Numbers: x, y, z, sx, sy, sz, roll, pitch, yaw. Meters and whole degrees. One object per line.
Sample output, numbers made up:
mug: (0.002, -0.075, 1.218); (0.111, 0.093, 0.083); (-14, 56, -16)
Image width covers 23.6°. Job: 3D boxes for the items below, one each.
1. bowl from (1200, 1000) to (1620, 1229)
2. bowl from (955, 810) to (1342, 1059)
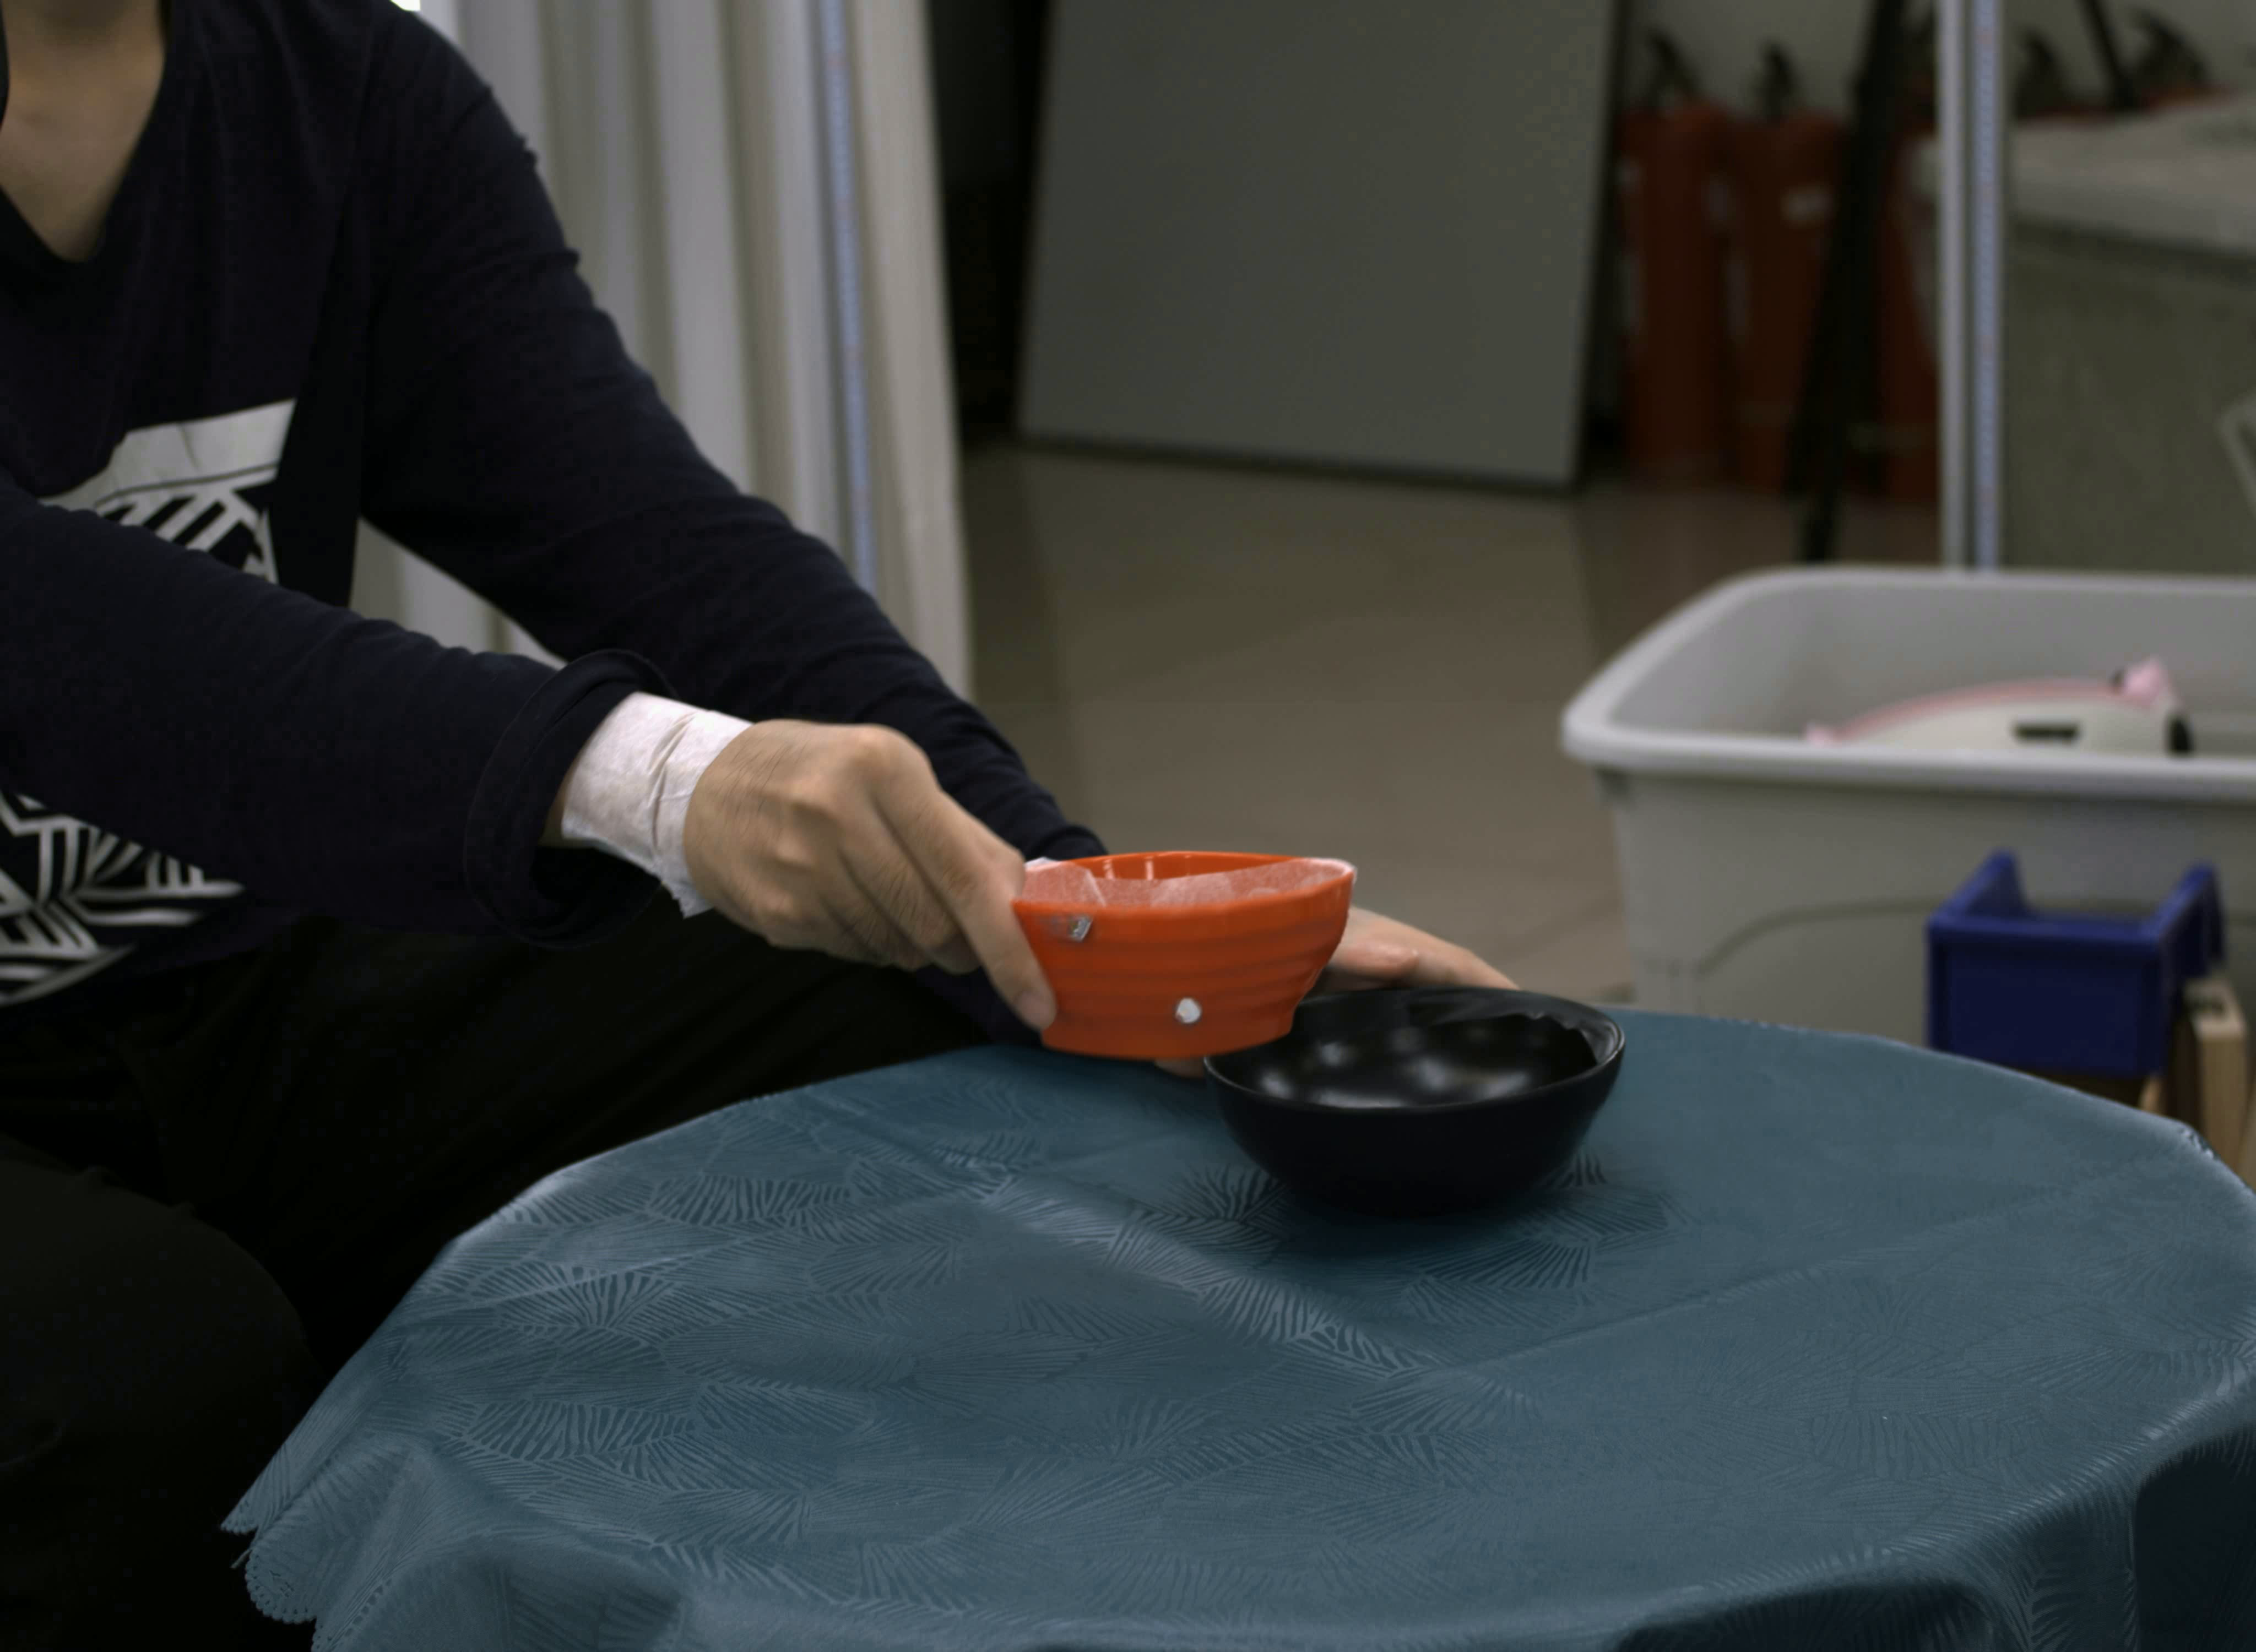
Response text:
bowl: (0.094, 0.097, 1.753); (0.138, 0.050, 0.140); (-8, 11, 0)
bowl: (0.008, 0.035, 1.634); (0.117, 0.052, 0.119); (-5, 15, 0)
